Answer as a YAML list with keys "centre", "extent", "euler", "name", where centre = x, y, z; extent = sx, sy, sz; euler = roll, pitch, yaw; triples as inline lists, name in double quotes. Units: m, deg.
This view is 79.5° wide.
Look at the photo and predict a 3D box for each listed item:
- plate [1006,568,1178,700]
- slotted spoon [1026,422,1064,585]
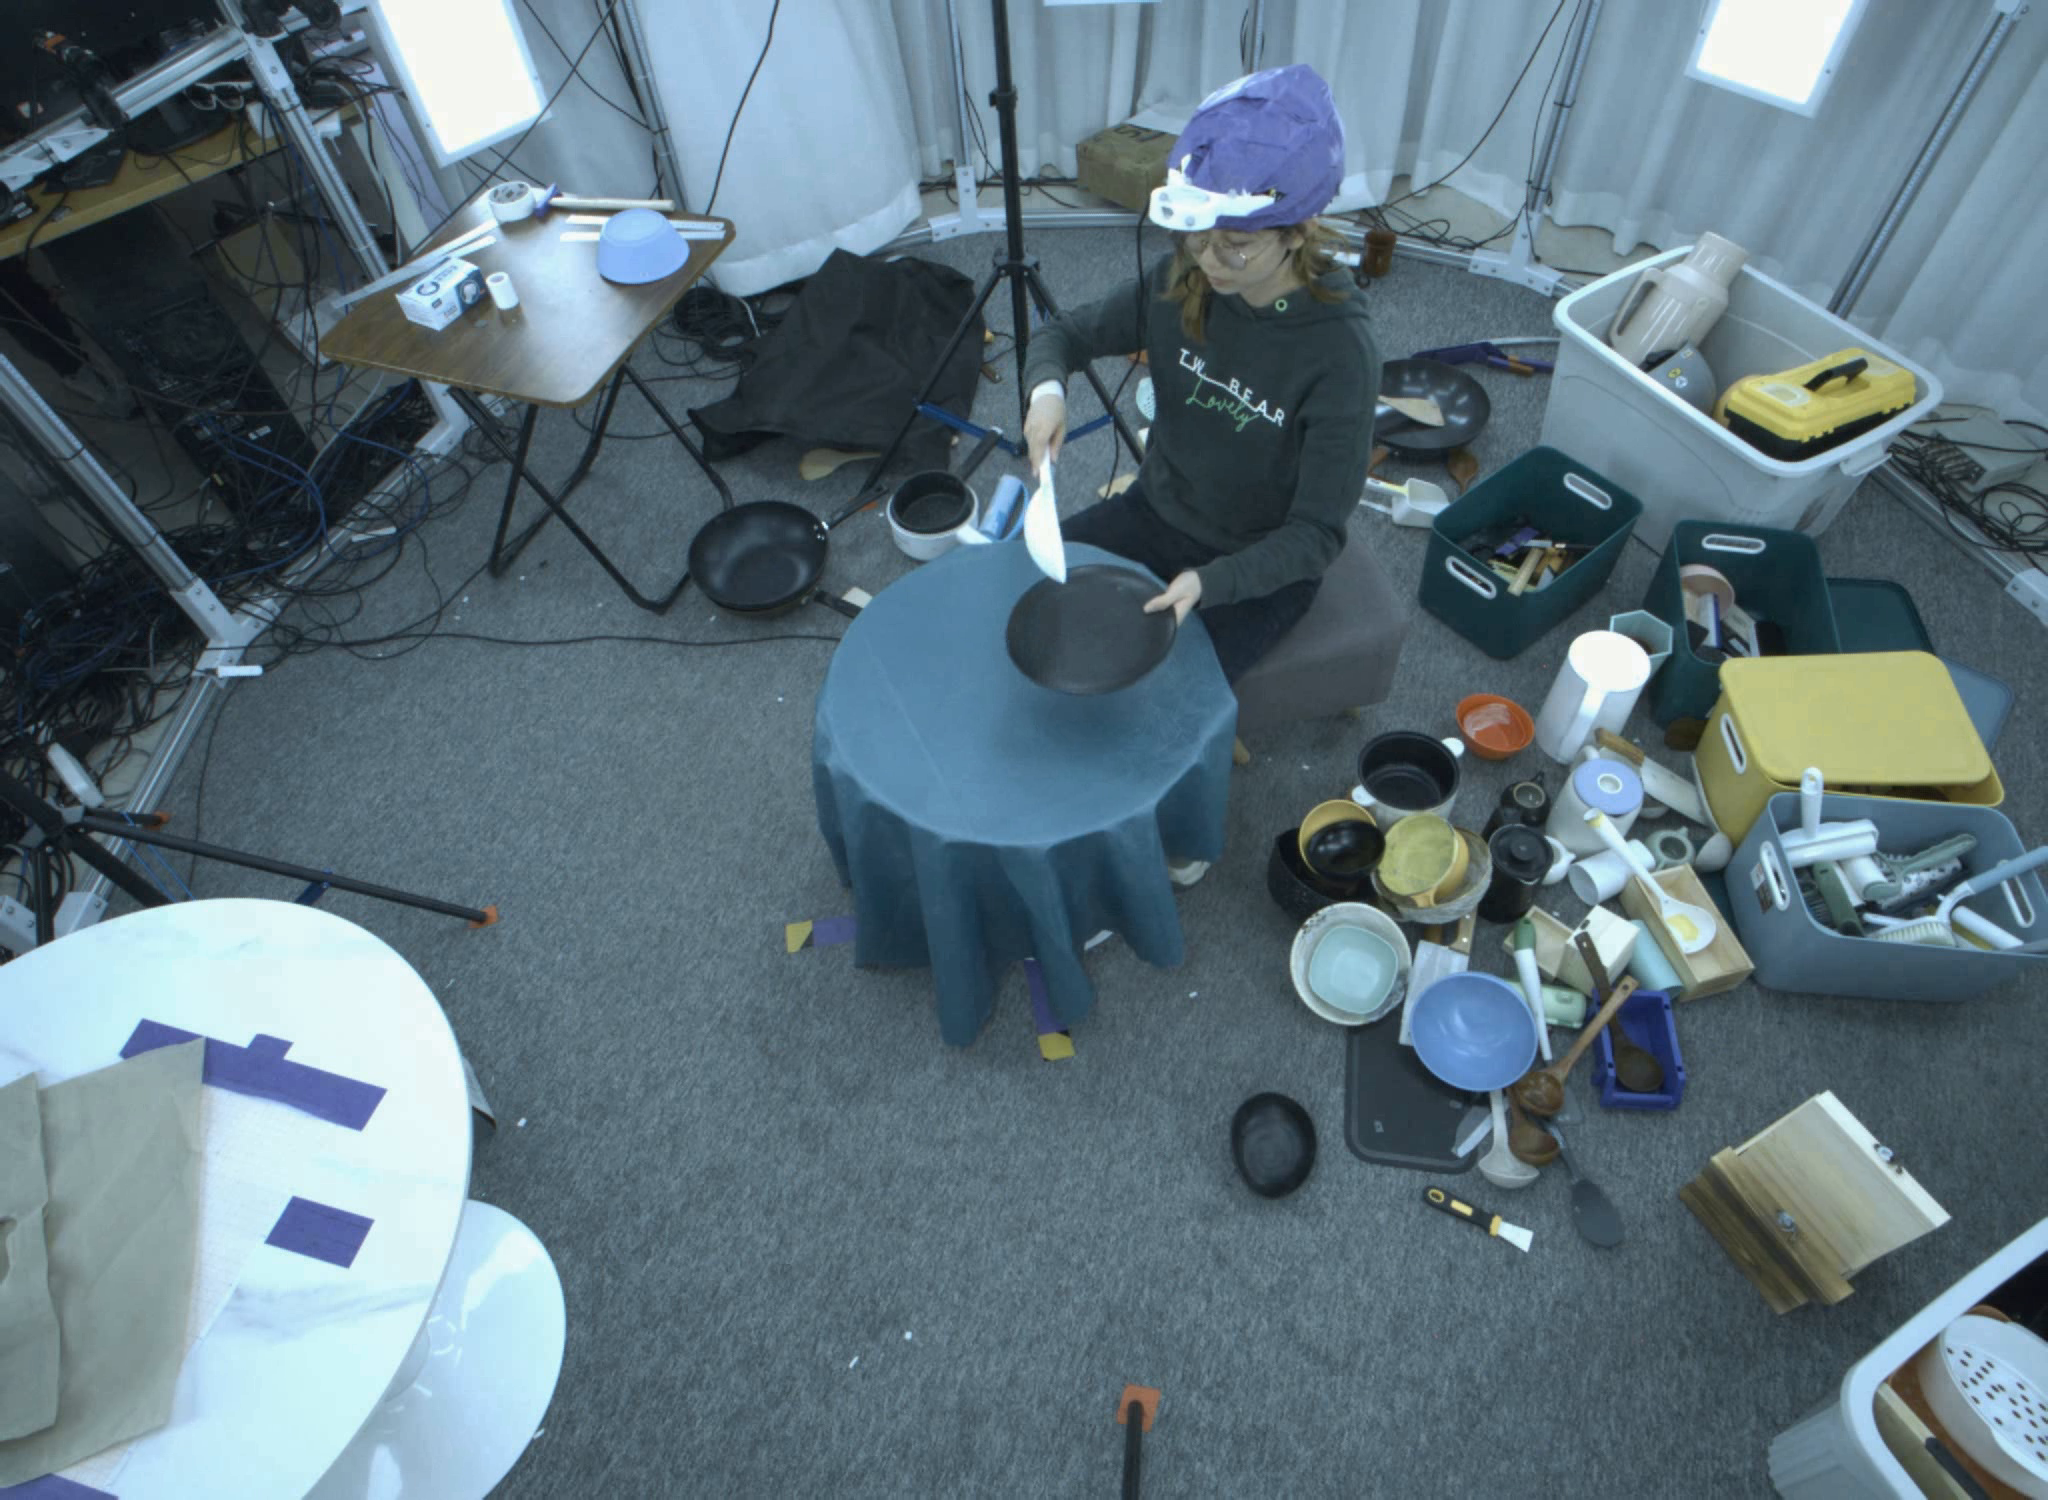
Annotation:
- centre: [0.096, -0.162, 1.741]
  extent: [0.243, 0.024, 0.242]
  euler: [-3, 55, 6]
  name: "plate"
- centre: [0.034, -0.372, 1.755]
  extent: [0.045, 0.138, 0.346]
  euler: [-4, 48, 11]
  name: "slotted spoon"
